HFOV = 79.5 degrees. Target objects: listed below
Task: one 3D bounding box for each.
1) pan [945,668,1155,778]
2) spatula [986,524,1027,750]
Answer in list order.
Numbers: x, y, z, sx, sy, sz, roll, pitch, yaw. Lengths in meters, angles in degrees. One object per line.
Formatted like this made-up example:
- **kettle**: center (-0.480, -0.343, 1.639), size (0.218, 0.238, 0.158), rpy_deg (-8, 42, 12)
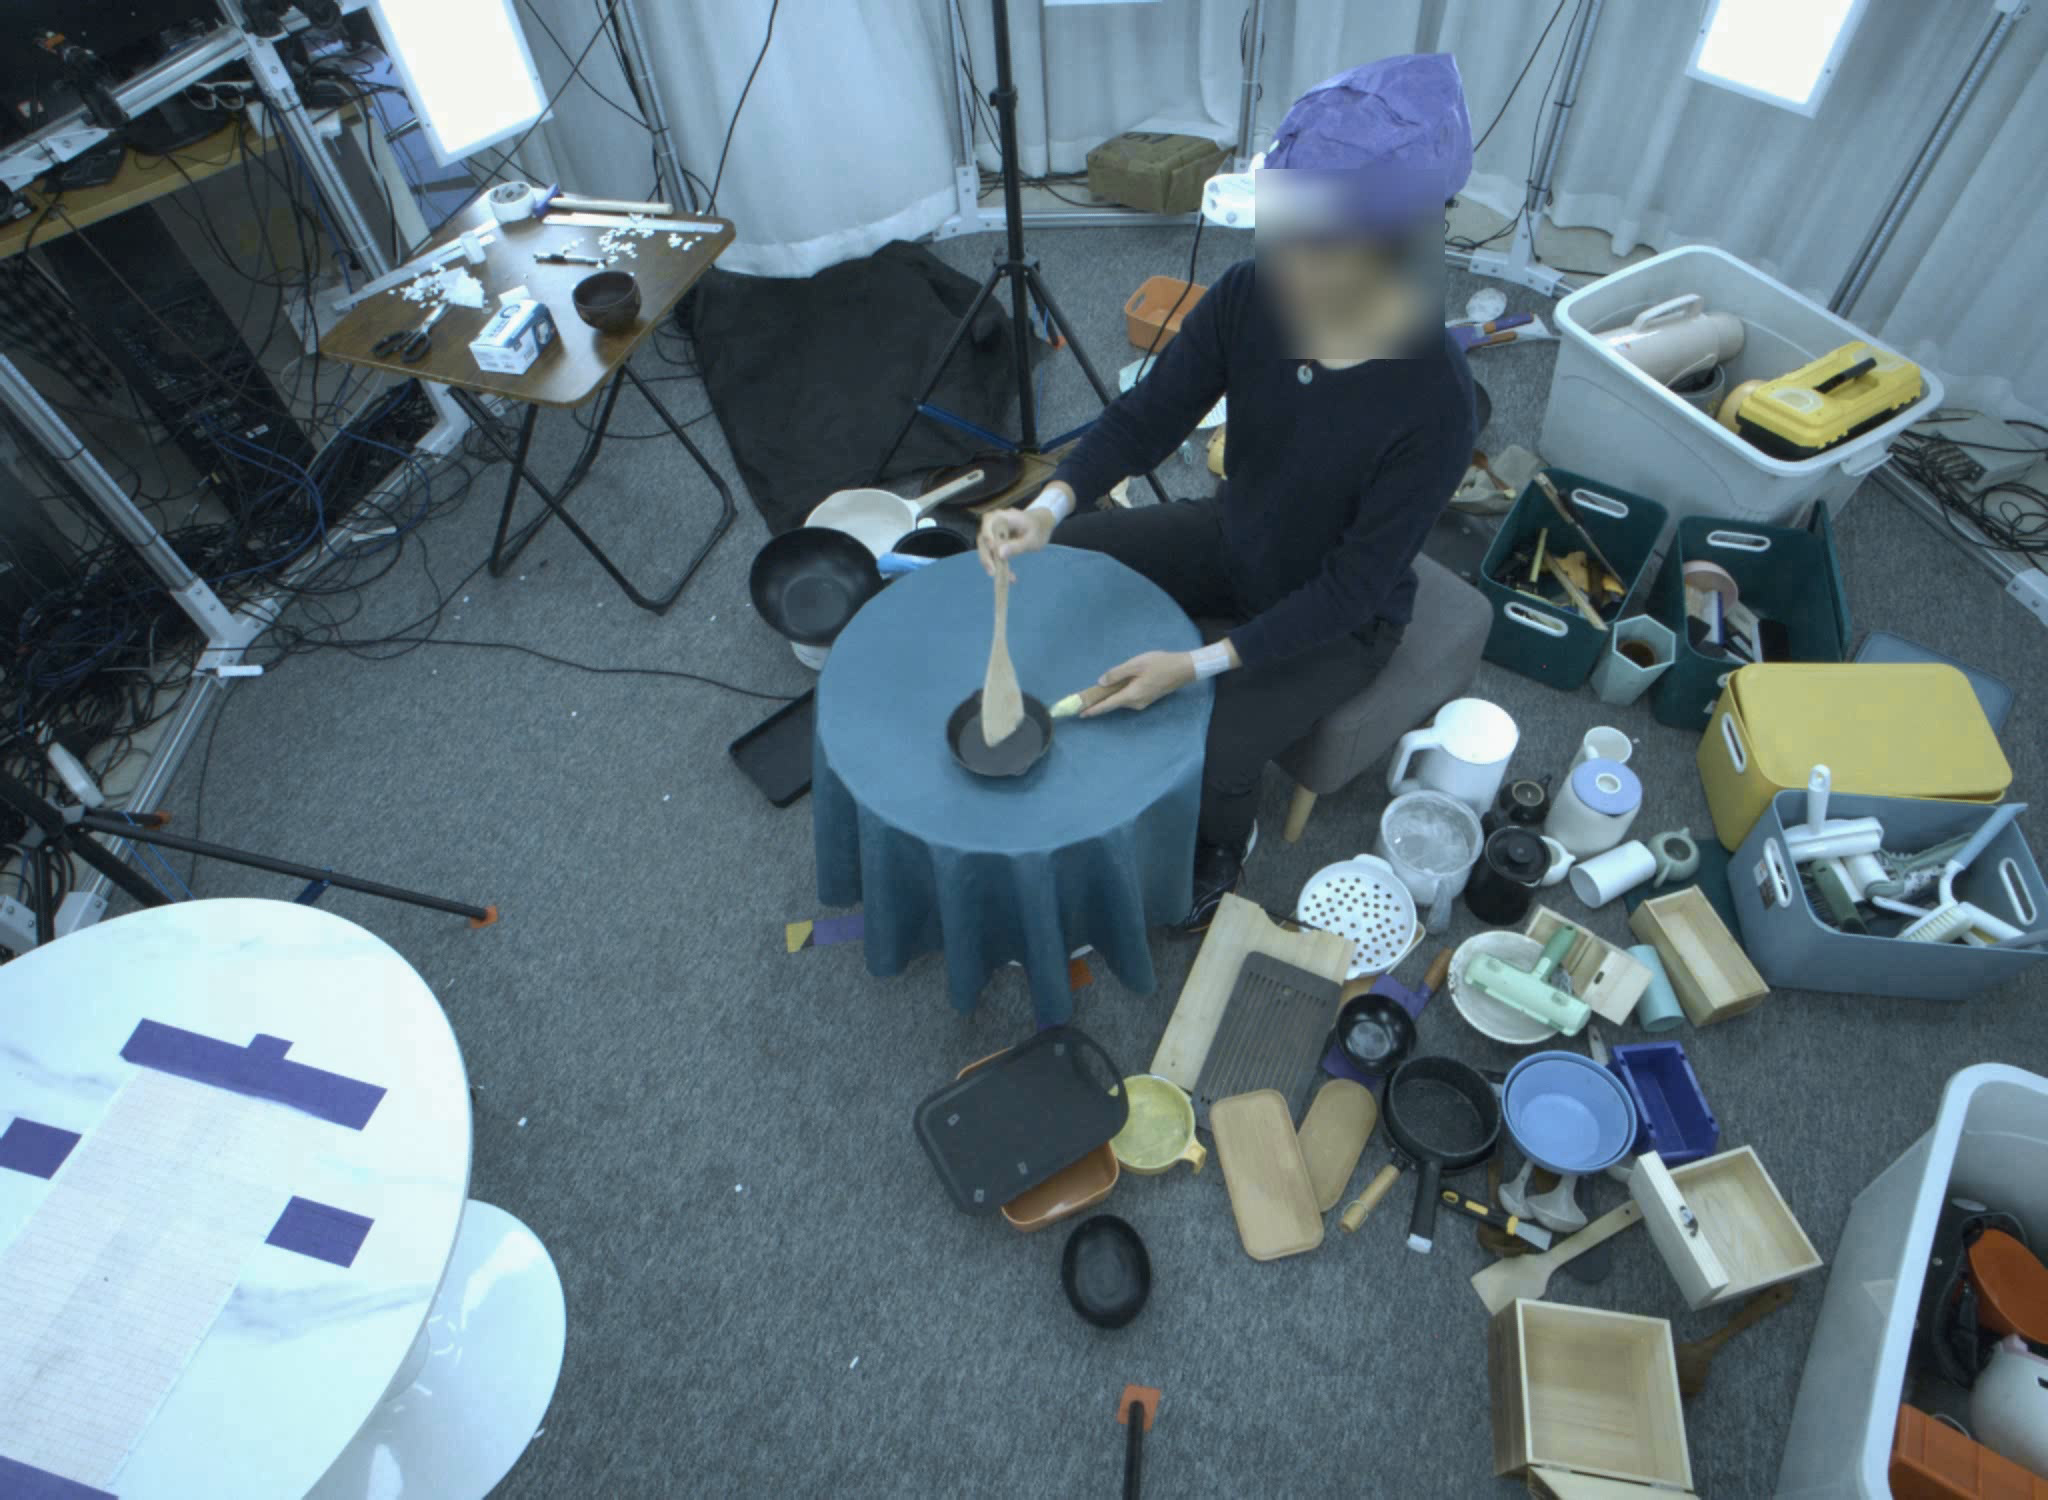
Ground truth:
- **pan**: center (0.043, -0.052, 1.792), size (0.326, 0.050, 0.166), rpy_deg (-20, 56, -10)
- **spatula**: center (-0.026, -0.153, 1.677), size (0.016, 0.330, 0.081), rpy_deg (26, 41, 34)
